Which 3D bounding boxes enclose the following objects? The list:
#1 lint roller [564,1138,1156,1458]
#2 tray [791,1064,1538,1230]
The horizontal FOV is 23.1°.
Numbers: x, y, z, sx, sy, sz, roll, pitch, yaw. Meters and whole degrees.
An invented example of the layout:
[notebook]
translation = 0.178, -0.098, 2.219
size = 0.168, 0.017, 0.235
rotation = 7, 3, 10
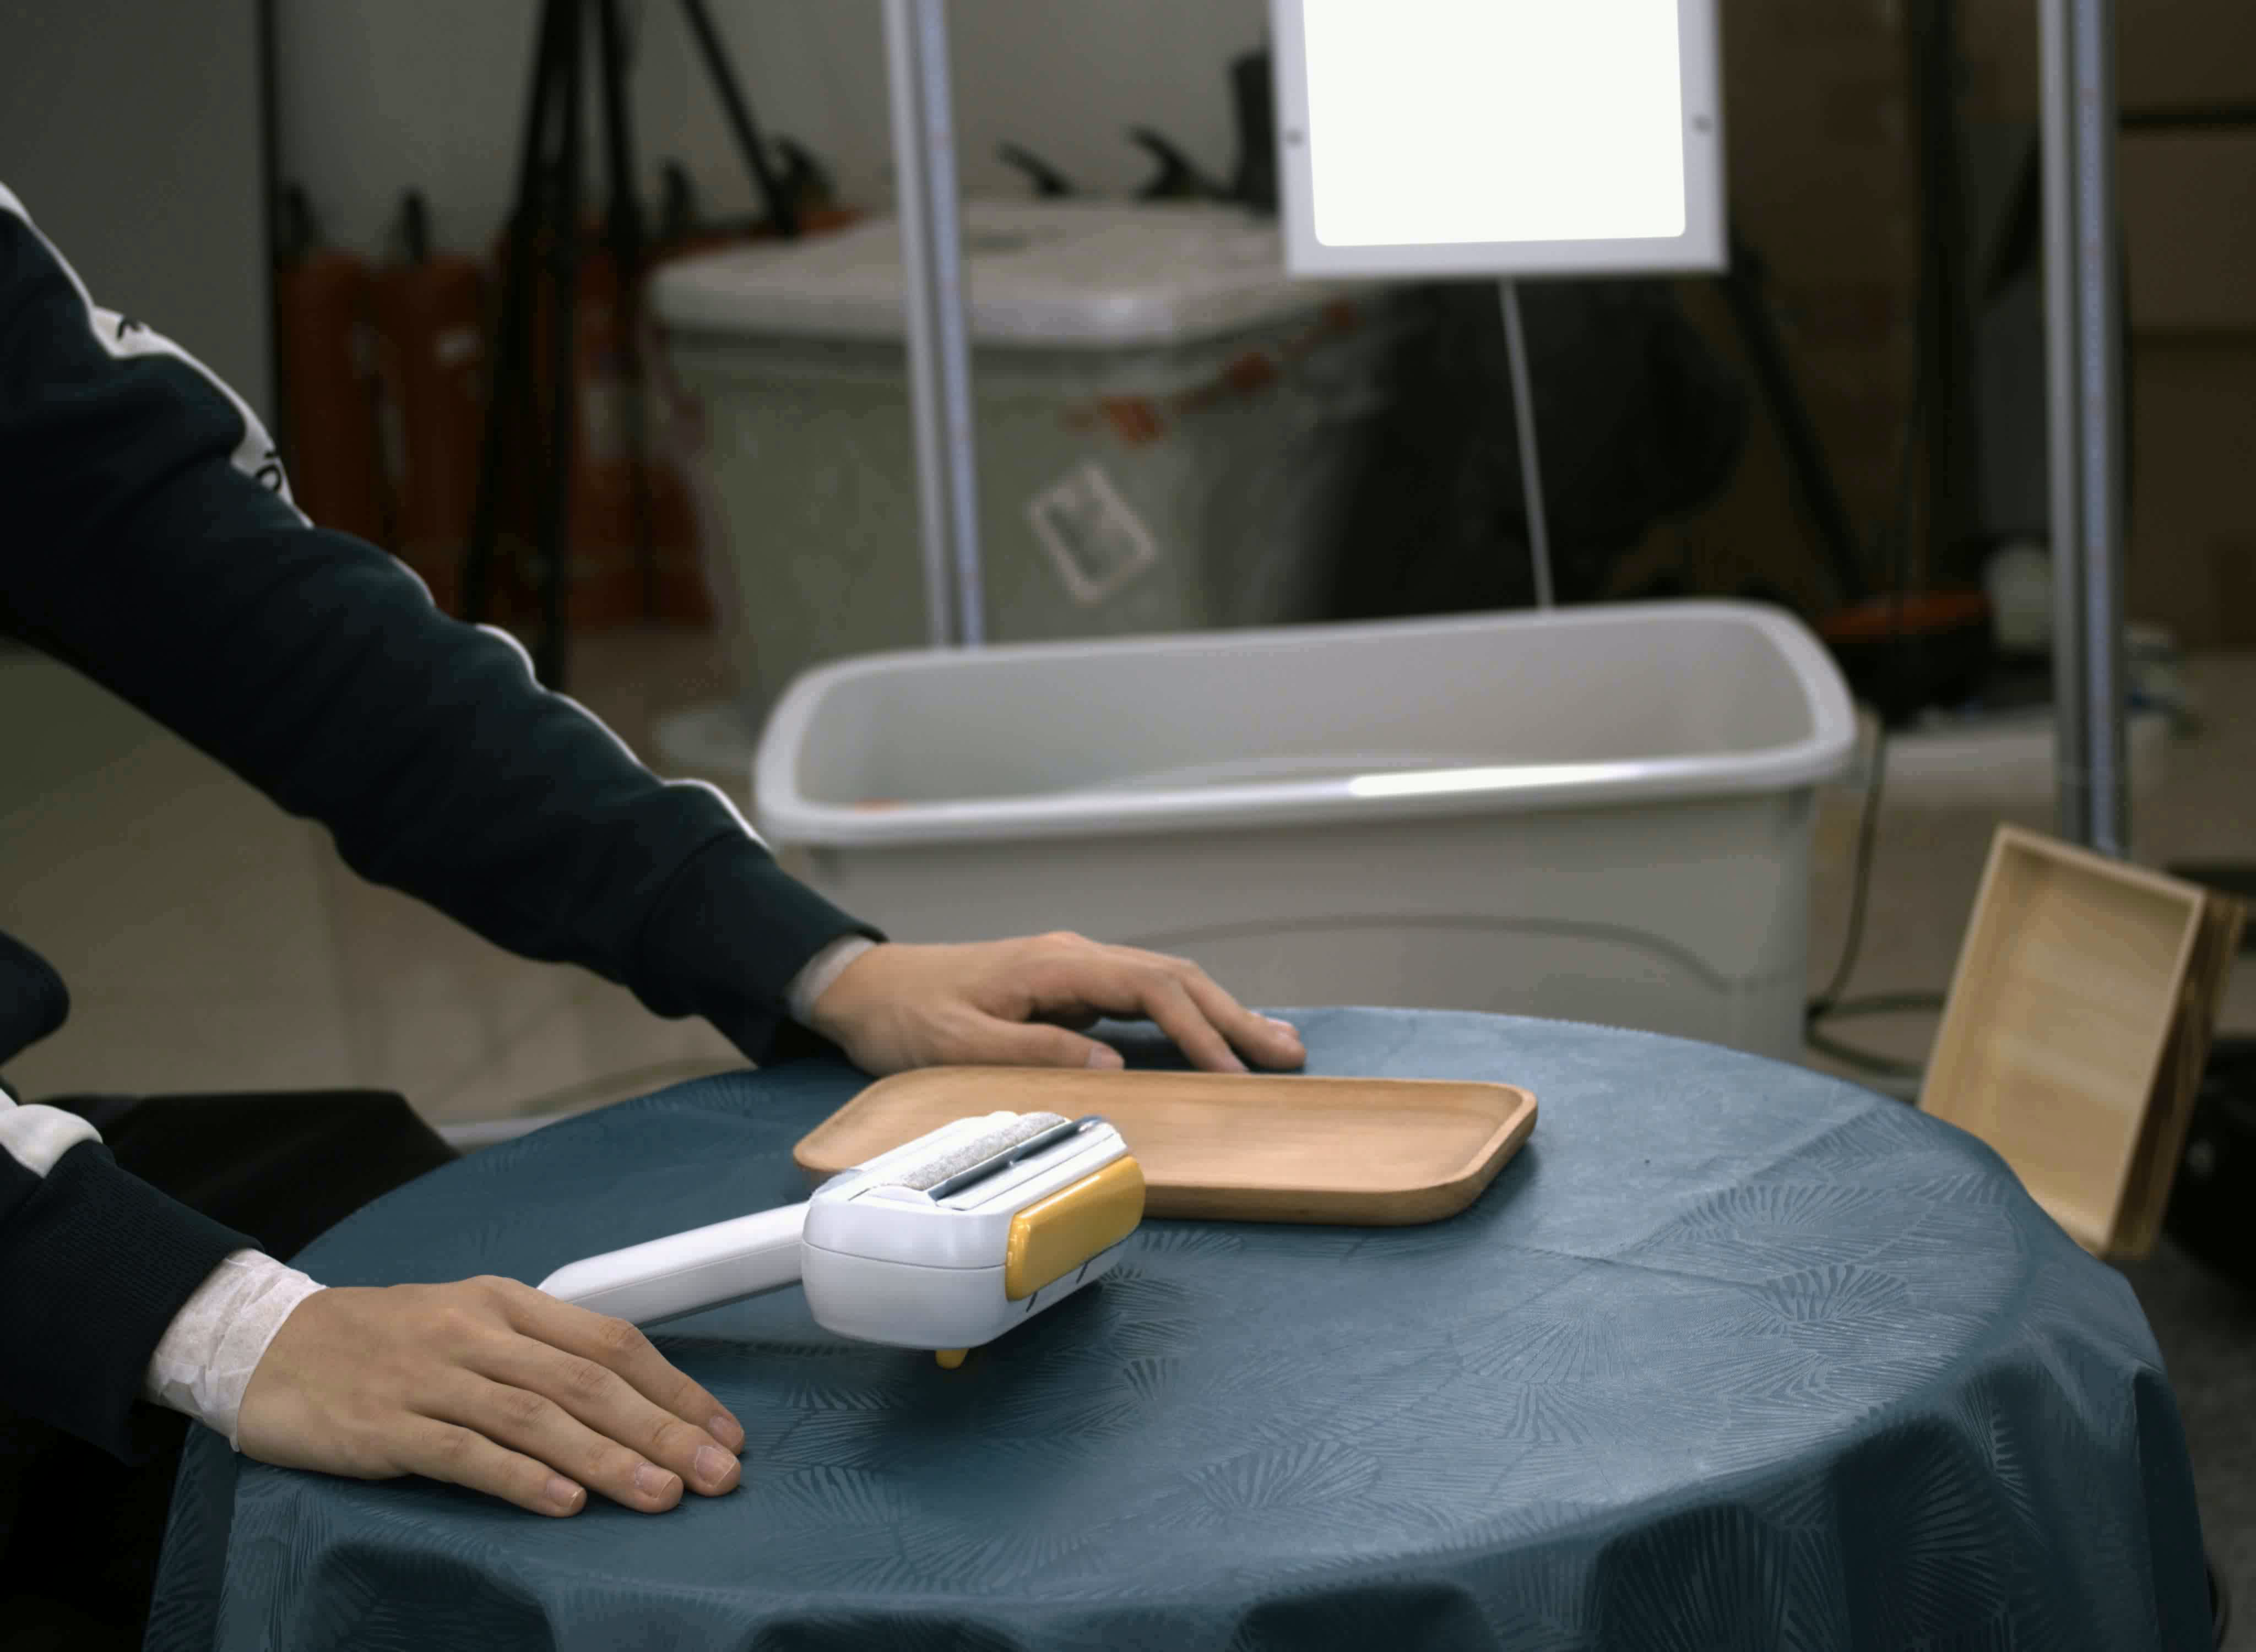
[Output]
[lint roller]
translation = -0.100, 0.154, 1.757
size = 0.195, 0.074, 0.189
rotation = -16, 2, 23
[tray]
translation = 0.013, 0.111, 1.920
size = 0.254, 0.023, 0.128
rotation = 0, 13, 23
